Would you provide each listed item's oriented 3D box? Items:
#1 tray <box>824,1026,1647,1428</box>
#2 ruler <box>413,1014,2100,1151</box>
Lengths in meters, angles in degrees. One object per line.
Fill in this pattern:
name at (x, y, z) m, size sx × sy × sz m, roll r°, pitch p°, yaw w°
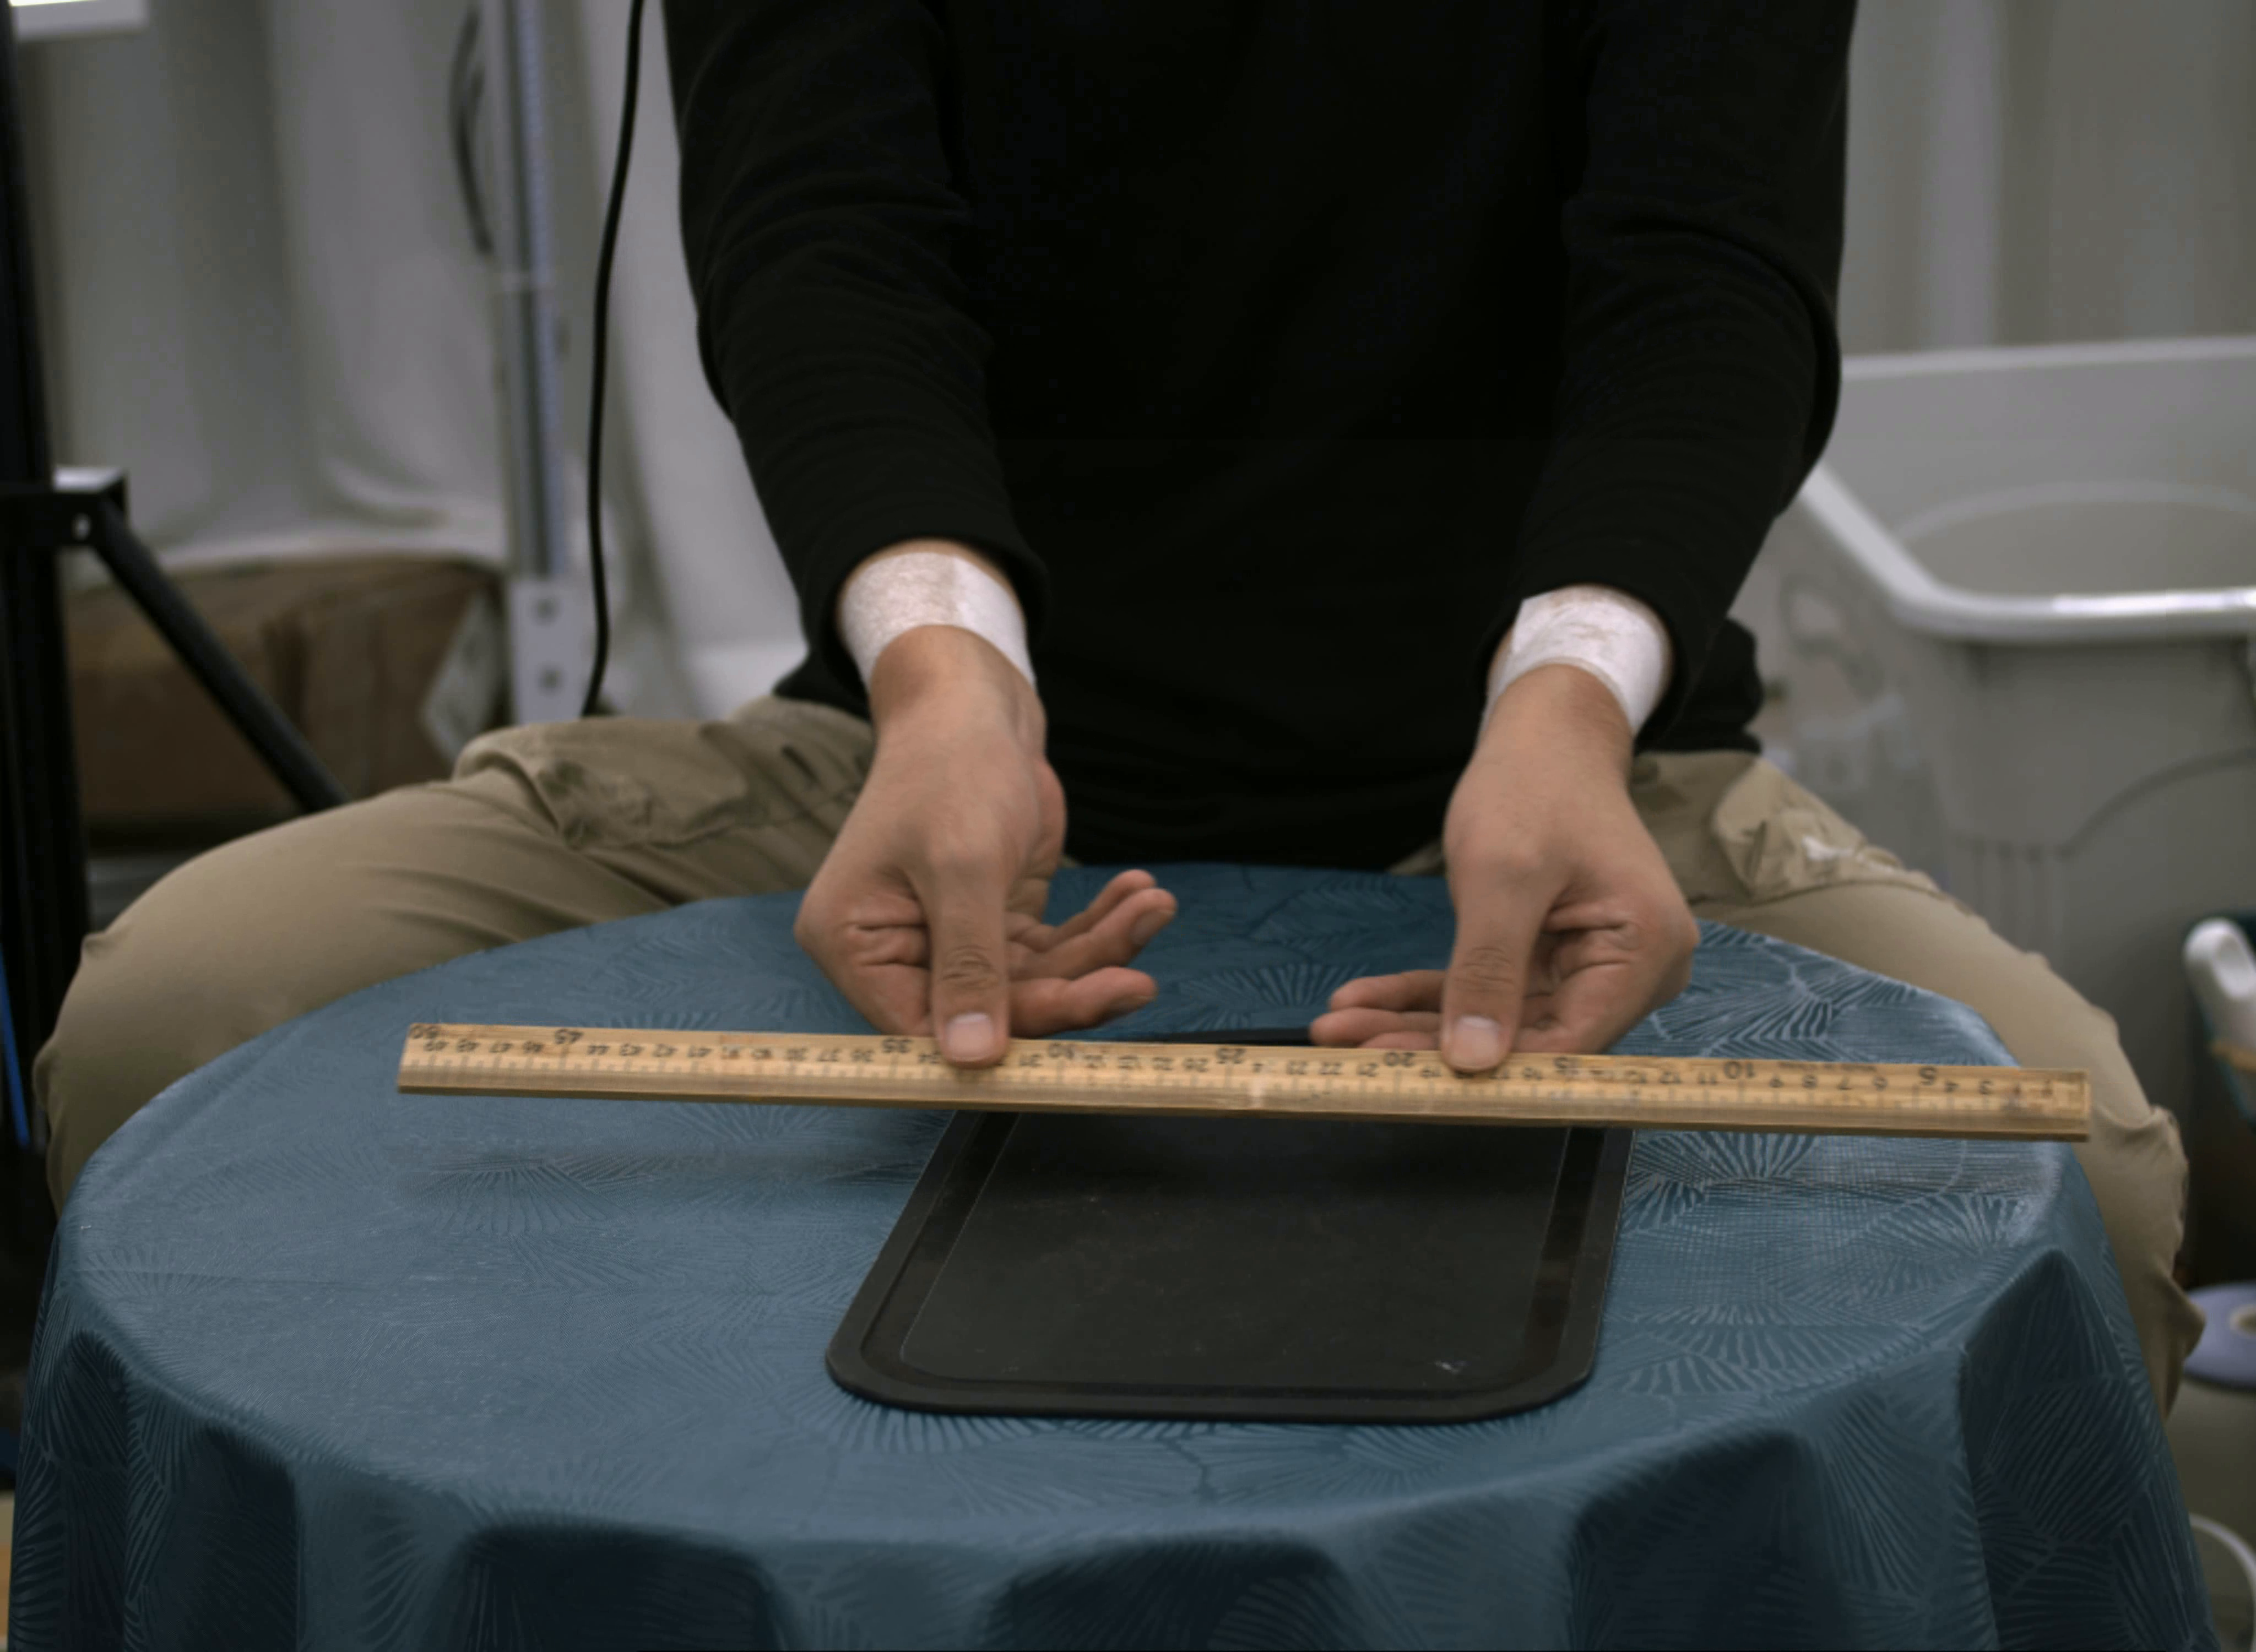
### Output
tray at (0.039, 0.108, 1.535) m, size 0.212 × 0.010 × 0.324 m, roll 0°, pitch 16°, yaw 10°
ruler at (0.033, 0.075, 1.557) m, size 0.502 × 0.006 × 0.027 m, roll 2°, pitch 47°, yaw 11°
